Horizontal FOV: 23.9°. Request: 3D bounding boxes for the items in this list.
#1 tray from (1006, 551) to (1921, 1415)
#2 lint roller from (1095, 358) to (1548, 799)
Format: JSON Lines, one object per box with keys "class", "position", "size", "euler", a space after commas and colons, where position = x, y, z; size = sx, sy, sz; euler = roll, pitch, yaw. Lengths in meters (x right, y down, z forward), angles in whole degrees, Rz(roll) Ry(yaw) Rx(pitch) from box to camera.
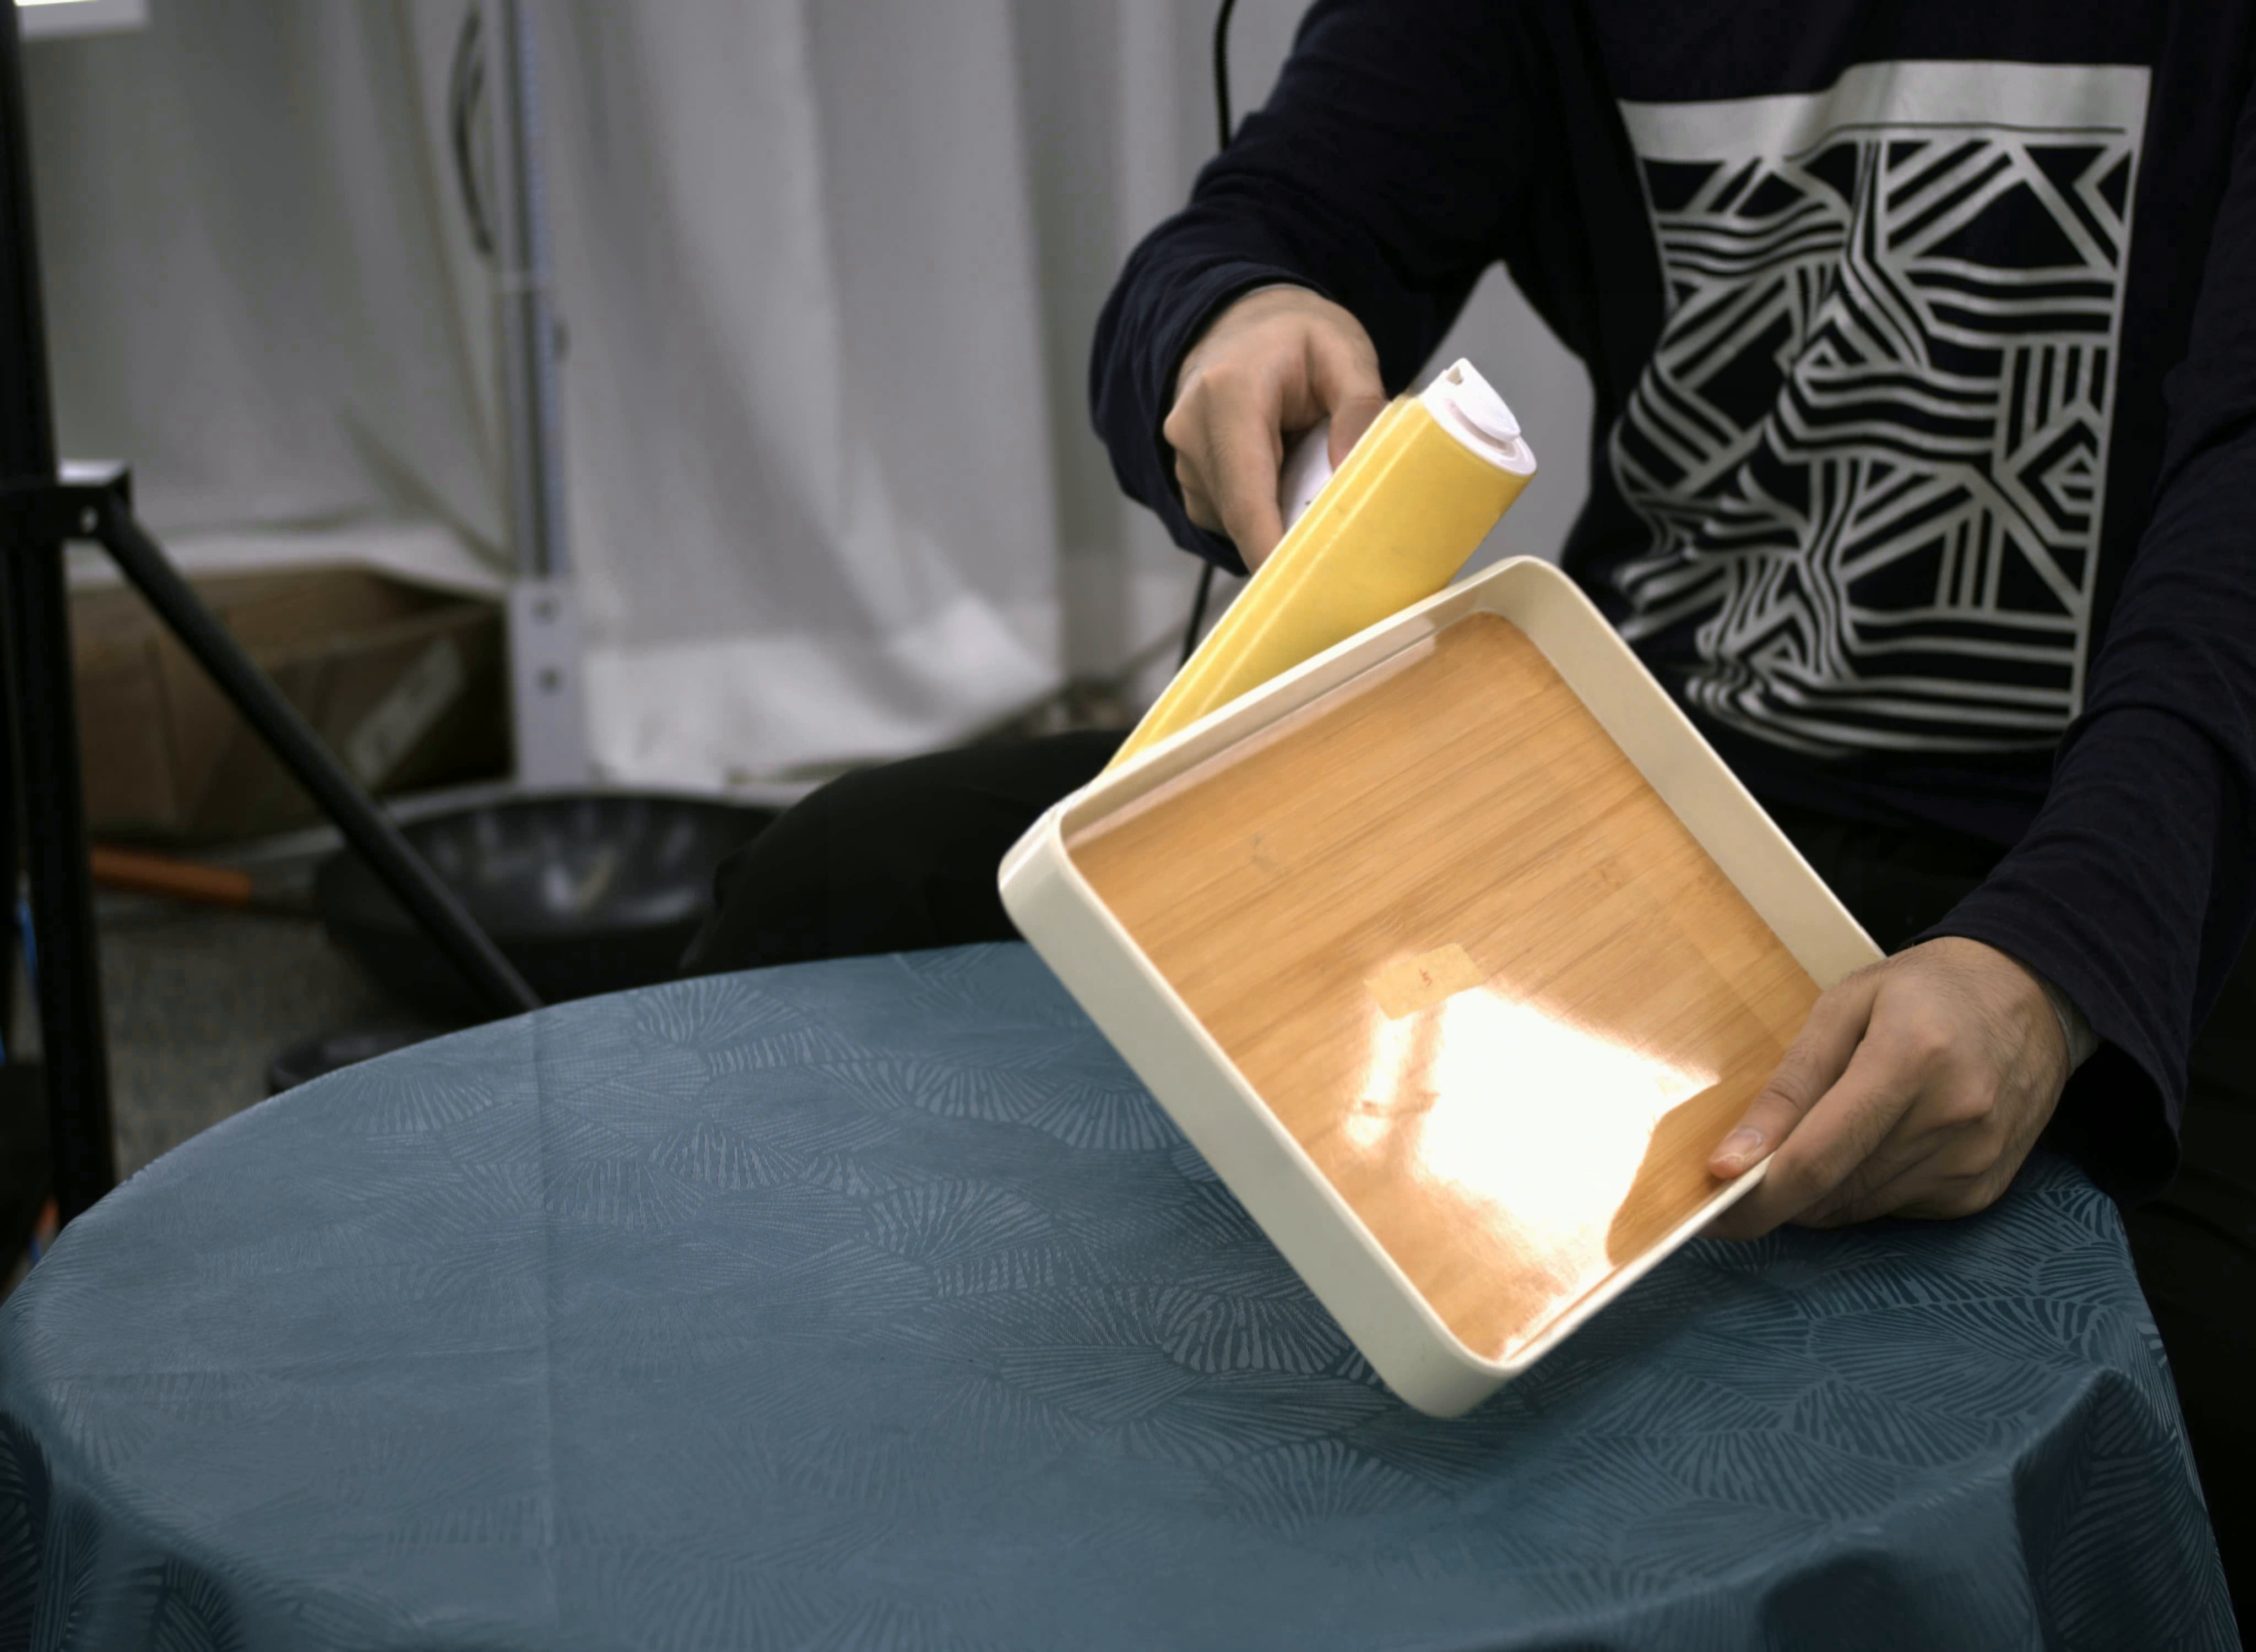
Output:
{"class": "tray", "position": [0.101, 0.035, 1.465], "size": [0.028, 0.193, 0.295], "euler": [-44, -10, 34]}
{"class": "lint roller", "position": [0.049, -0.091, 1.632], "size": [0.050, 0.175, 0.194], "euler": [30, 21, -22]}
